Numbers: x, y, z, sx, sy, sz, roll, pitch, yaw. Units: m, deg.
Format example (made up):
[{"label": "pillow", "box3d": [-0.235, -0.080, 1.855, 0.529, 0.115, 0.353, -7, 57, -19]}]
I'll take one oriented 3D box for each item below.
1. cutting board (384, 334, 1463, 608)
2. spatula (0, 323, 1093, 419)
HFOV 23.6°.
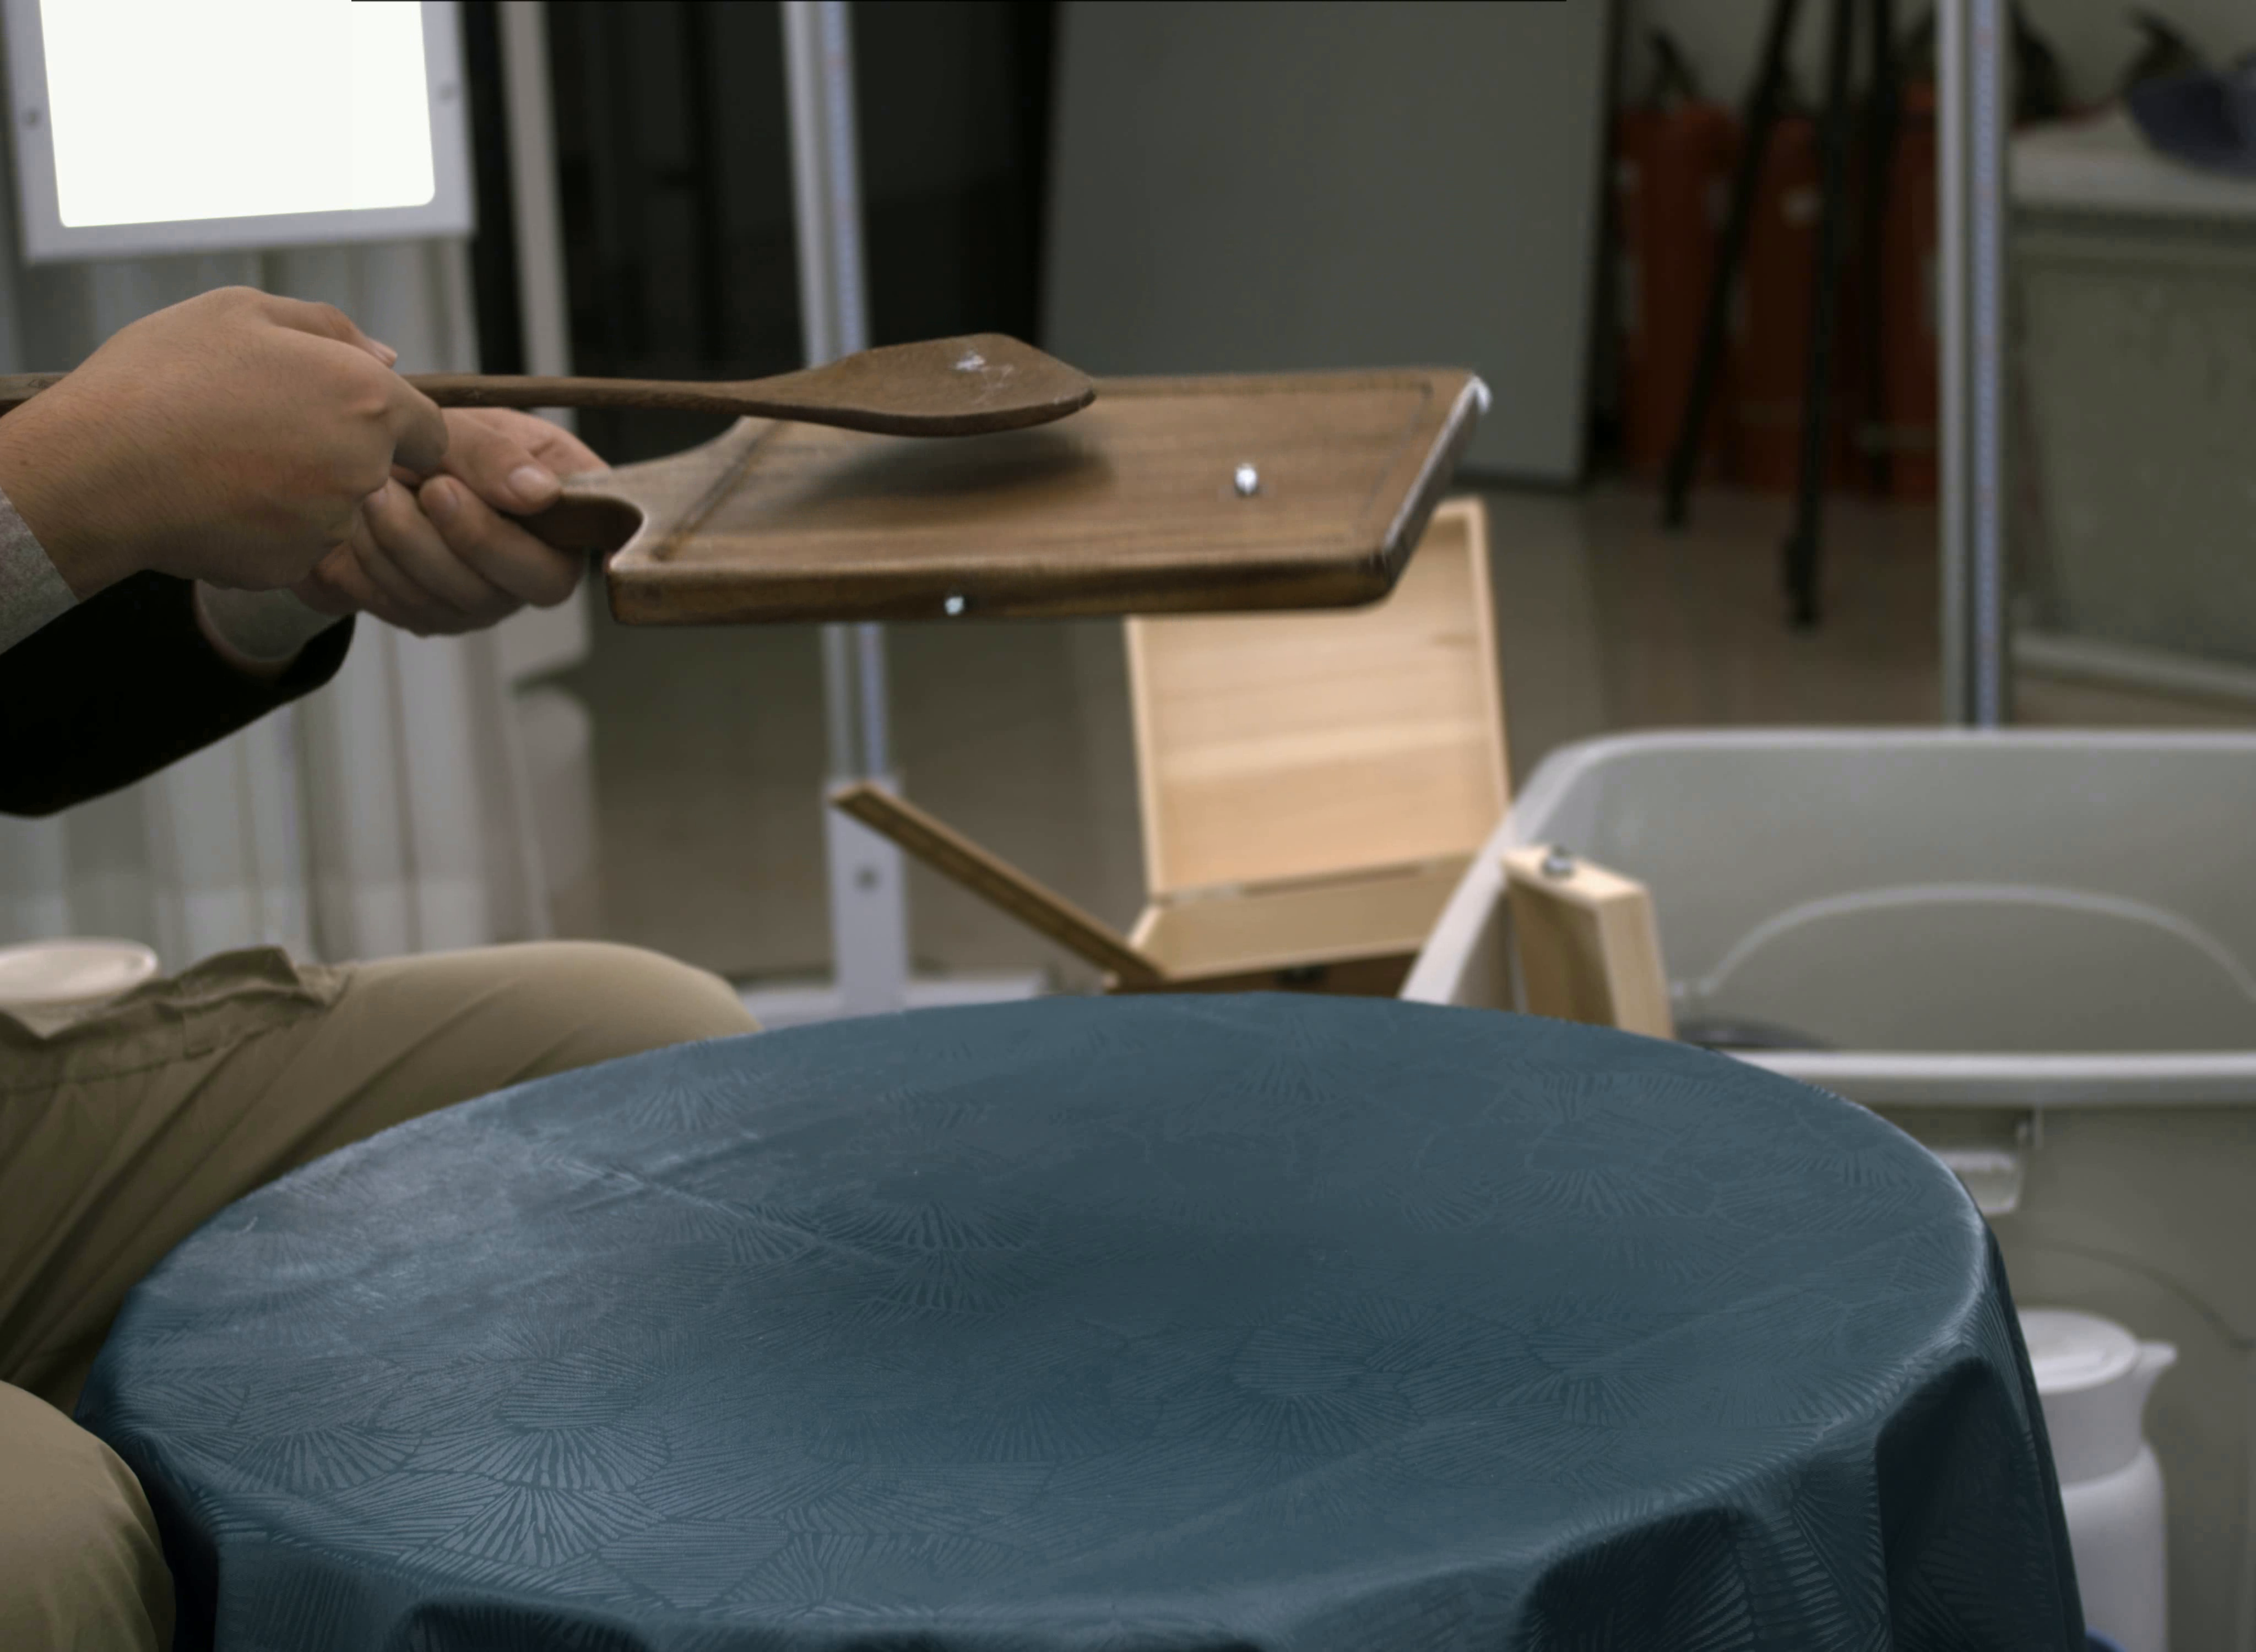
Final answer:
[{"label": "cutting board", "box3d": [-0.073, -0.113, 1.746, 0.350, 0.023, 0.200, -2, 21, 15]}, {"label": "spatula", "box3d": [-0.195, -0.142, 1.709, 0.377, 0.016, 0.097, -2, 19, -20]}]
